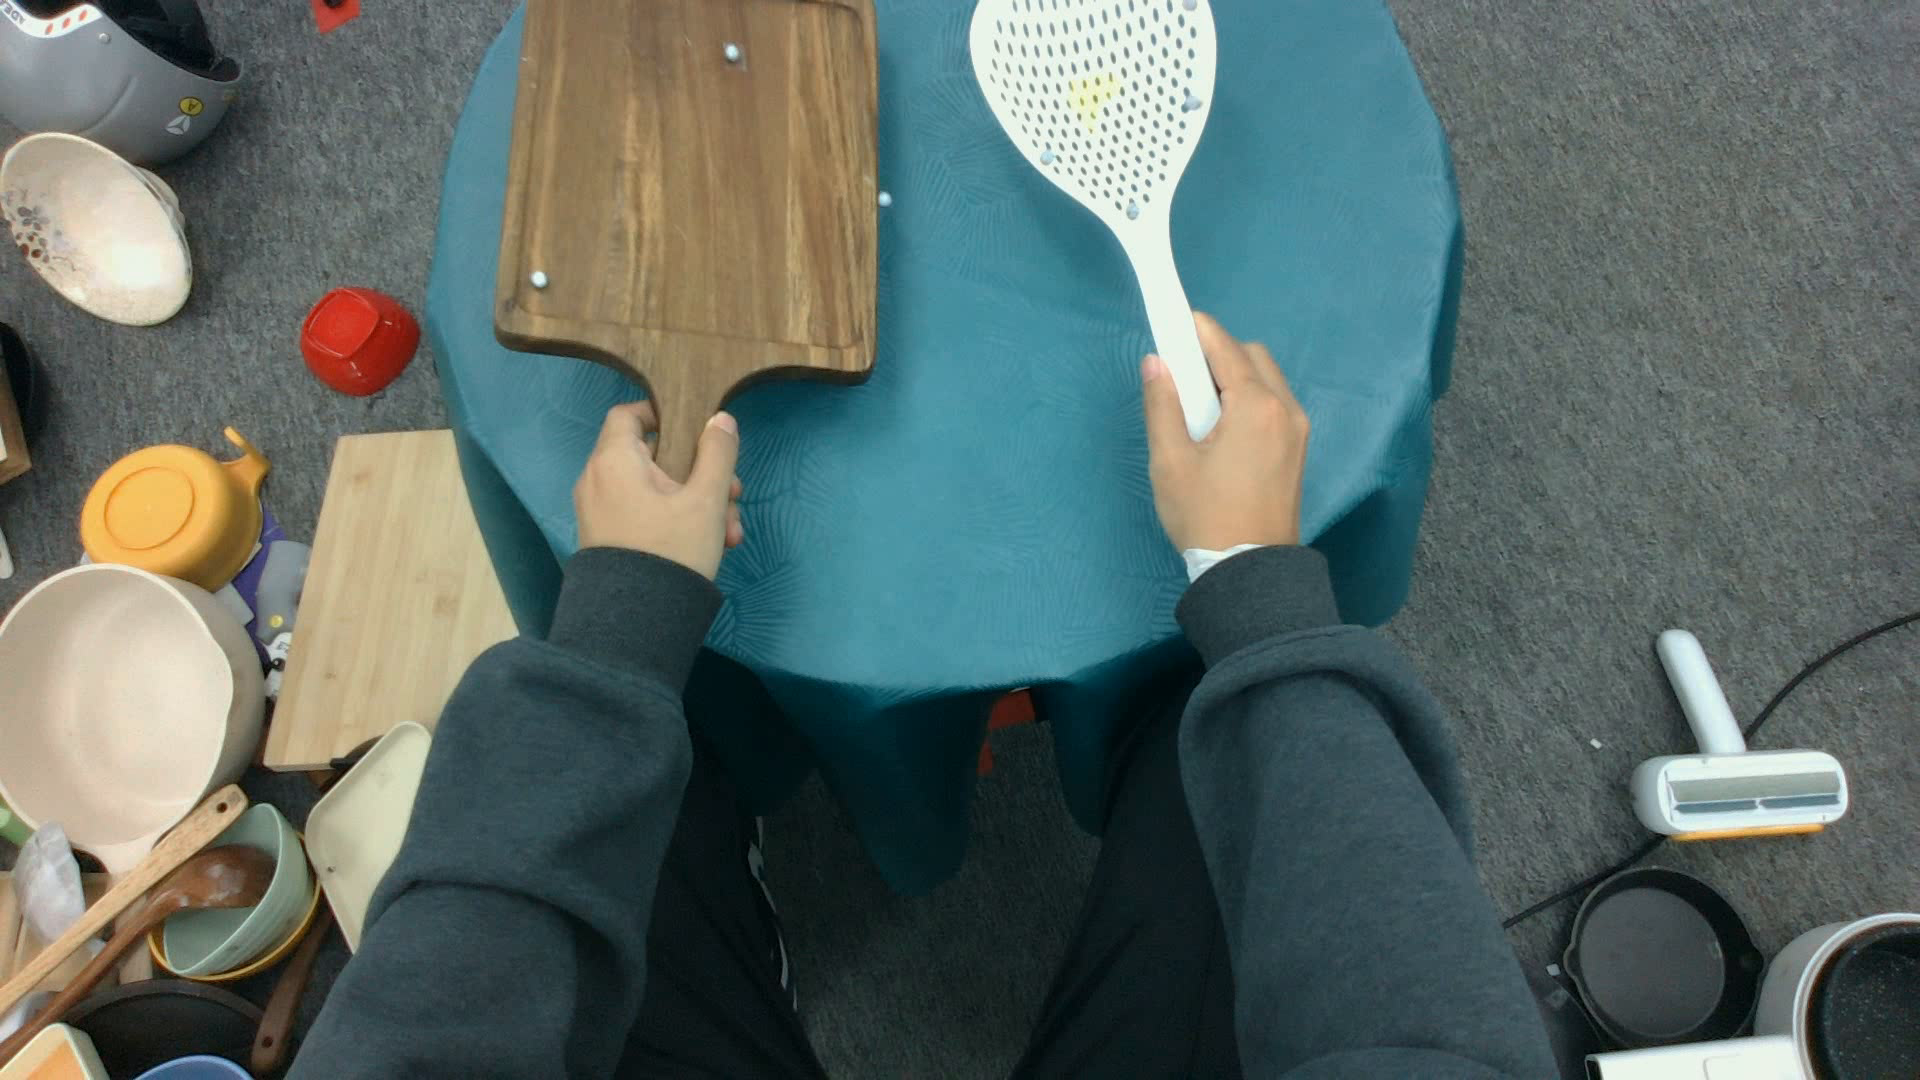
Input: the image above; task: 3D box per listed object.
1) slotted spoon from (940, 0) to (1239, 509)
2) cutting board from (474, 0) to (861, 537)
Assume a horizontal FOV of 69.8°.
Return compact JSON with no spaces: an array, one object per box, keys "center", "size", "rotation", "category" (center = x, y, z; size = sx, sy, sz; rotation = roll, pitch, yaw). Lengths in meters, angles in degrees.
[{"center":[0.086,-0.180,0.750],"size":[0.137,0.050,0.349],"rotation":[-14,69,-5],"category":"slotted spoon"},{"center":[-0.154,-0.169,0.745],"size":[0.201,0.023,0.353],"rotation":[3,68,-14],"category":"cutting board"}]
